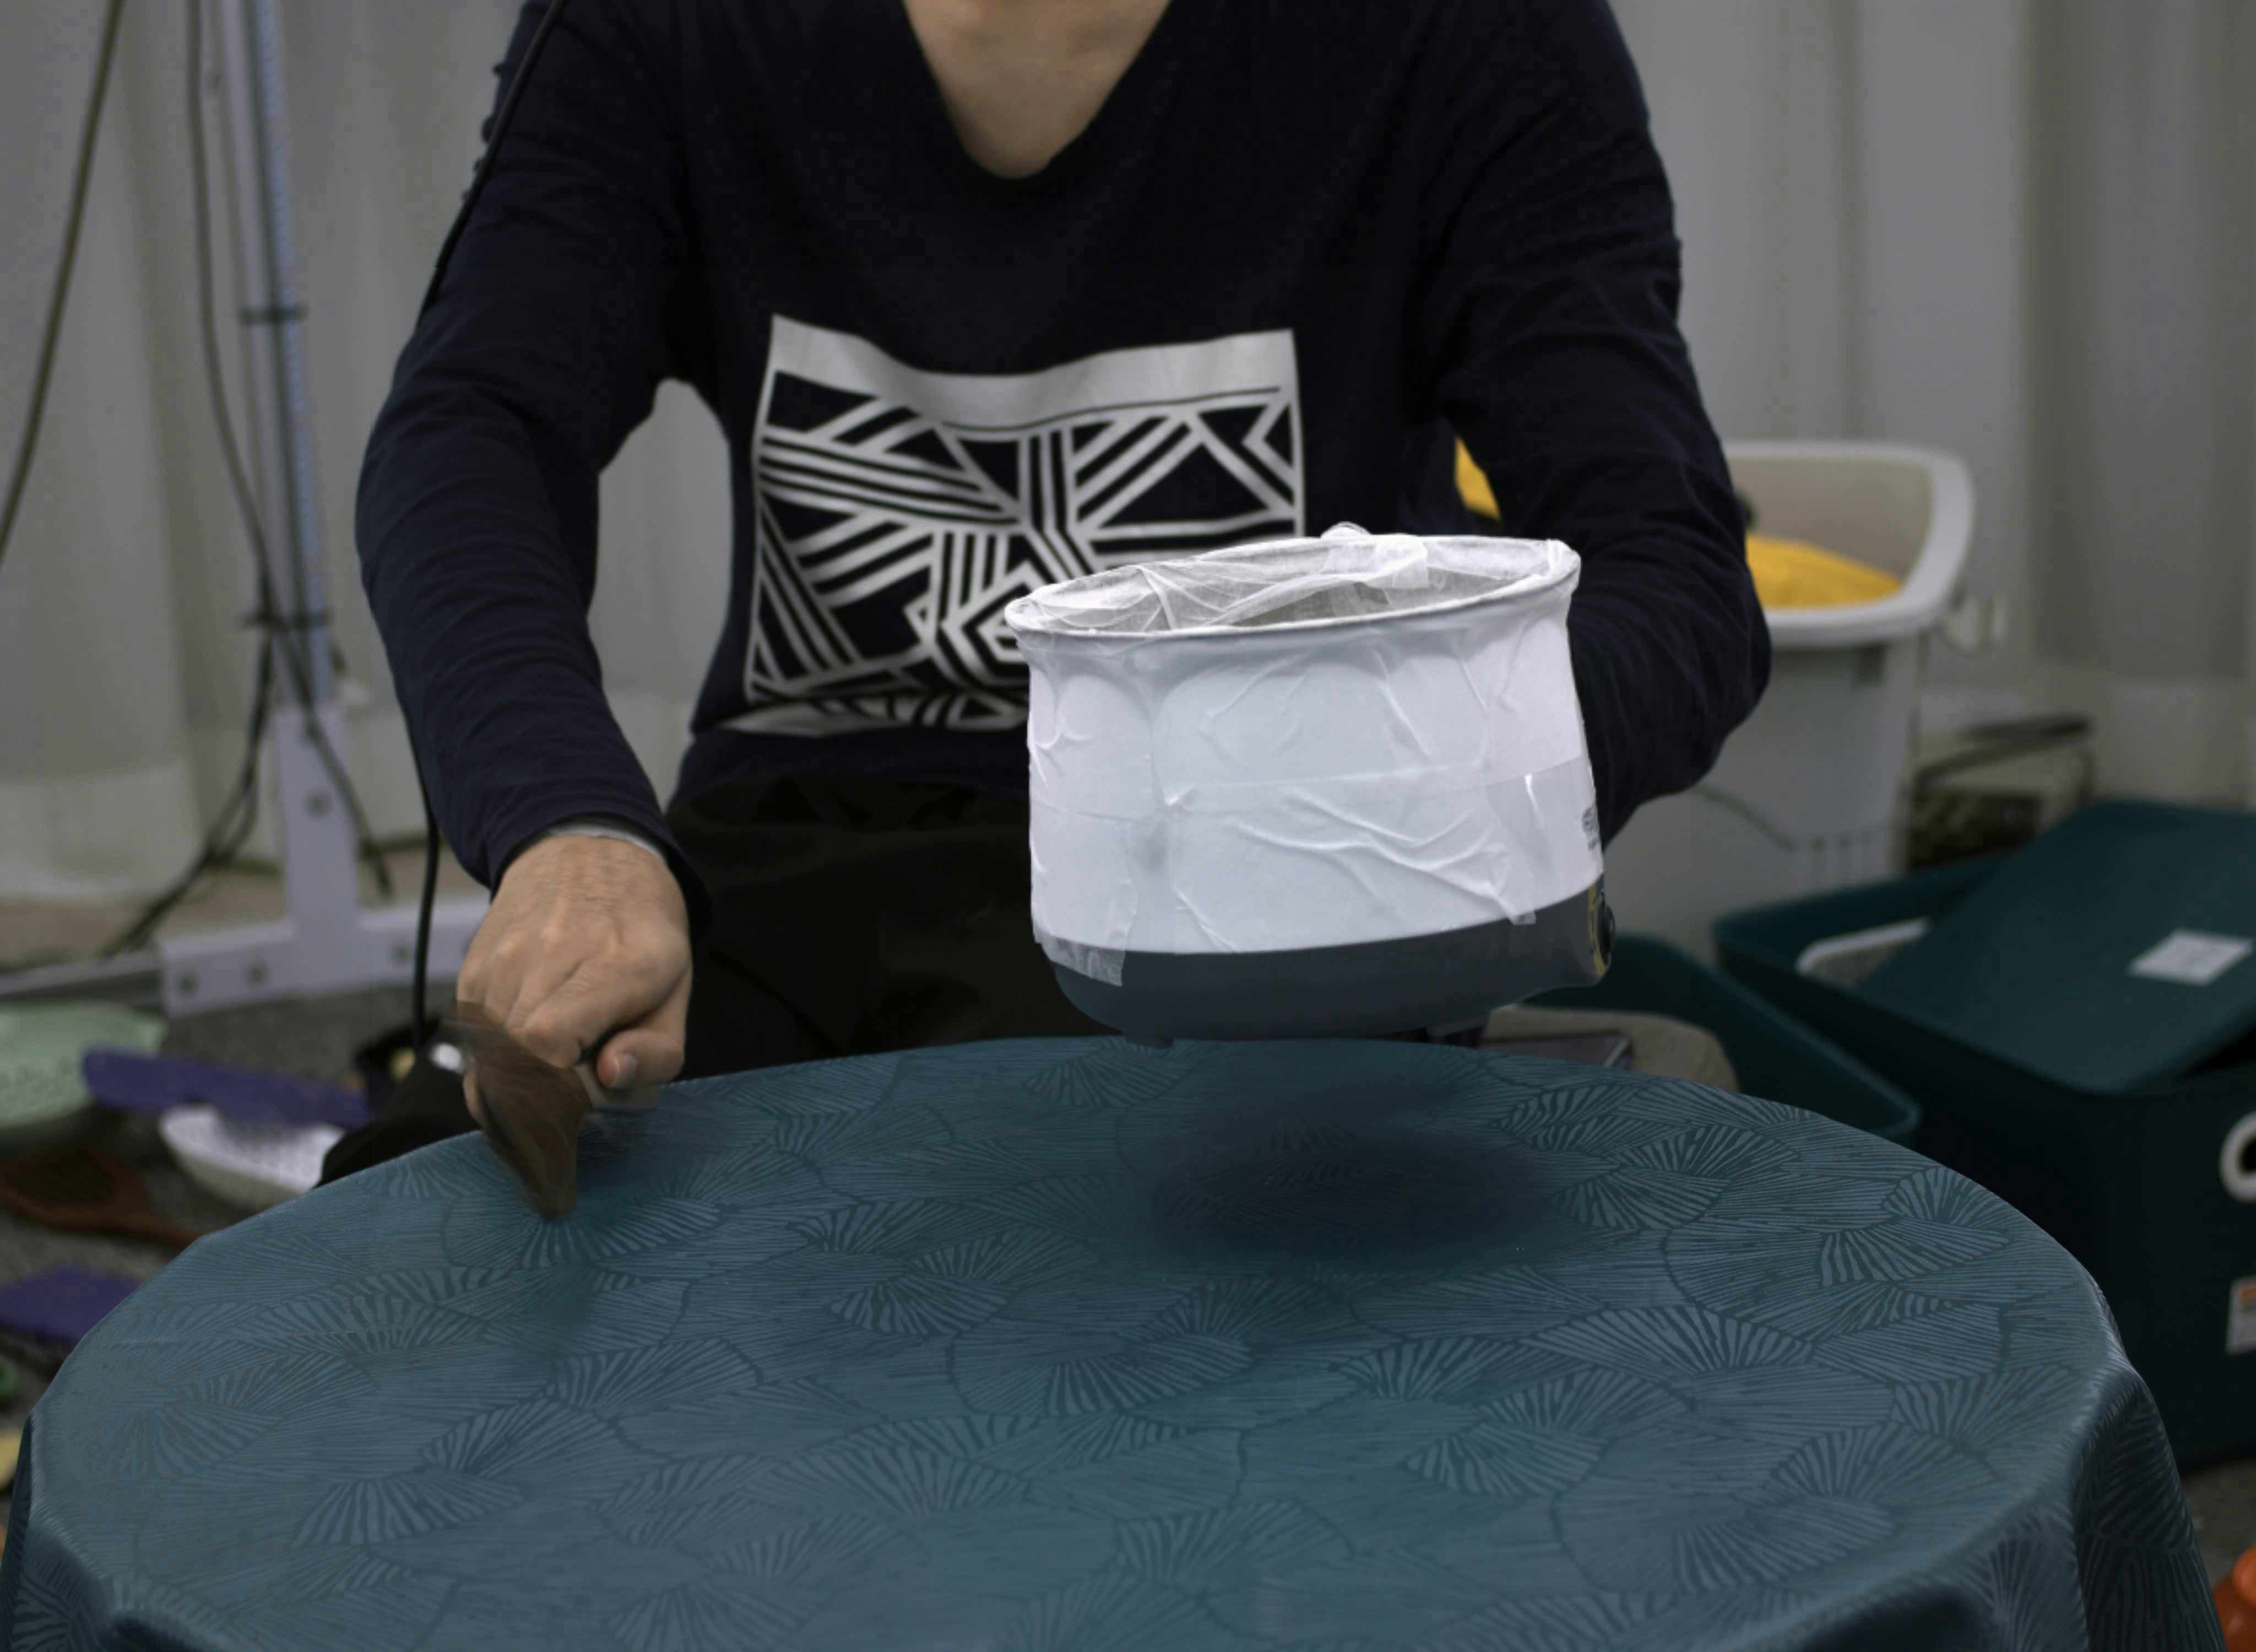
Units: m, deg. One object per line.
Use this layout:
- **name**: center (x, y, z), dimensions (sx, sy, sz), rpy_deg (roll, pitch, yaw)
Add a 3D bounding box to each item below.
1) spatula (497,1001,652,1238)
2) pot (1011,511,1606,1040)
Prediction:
- **spatula**: center (-0.170, 0.084, 1.701), dimensions (0.009, 0.072, 0.215), rpy_deg (-12, 1, 6)
- **pot**: center (0.060, -0.019, 1.708), dimensions (0.178, 0.136, 0.234), rpy_deg (-1, 11, 10)
